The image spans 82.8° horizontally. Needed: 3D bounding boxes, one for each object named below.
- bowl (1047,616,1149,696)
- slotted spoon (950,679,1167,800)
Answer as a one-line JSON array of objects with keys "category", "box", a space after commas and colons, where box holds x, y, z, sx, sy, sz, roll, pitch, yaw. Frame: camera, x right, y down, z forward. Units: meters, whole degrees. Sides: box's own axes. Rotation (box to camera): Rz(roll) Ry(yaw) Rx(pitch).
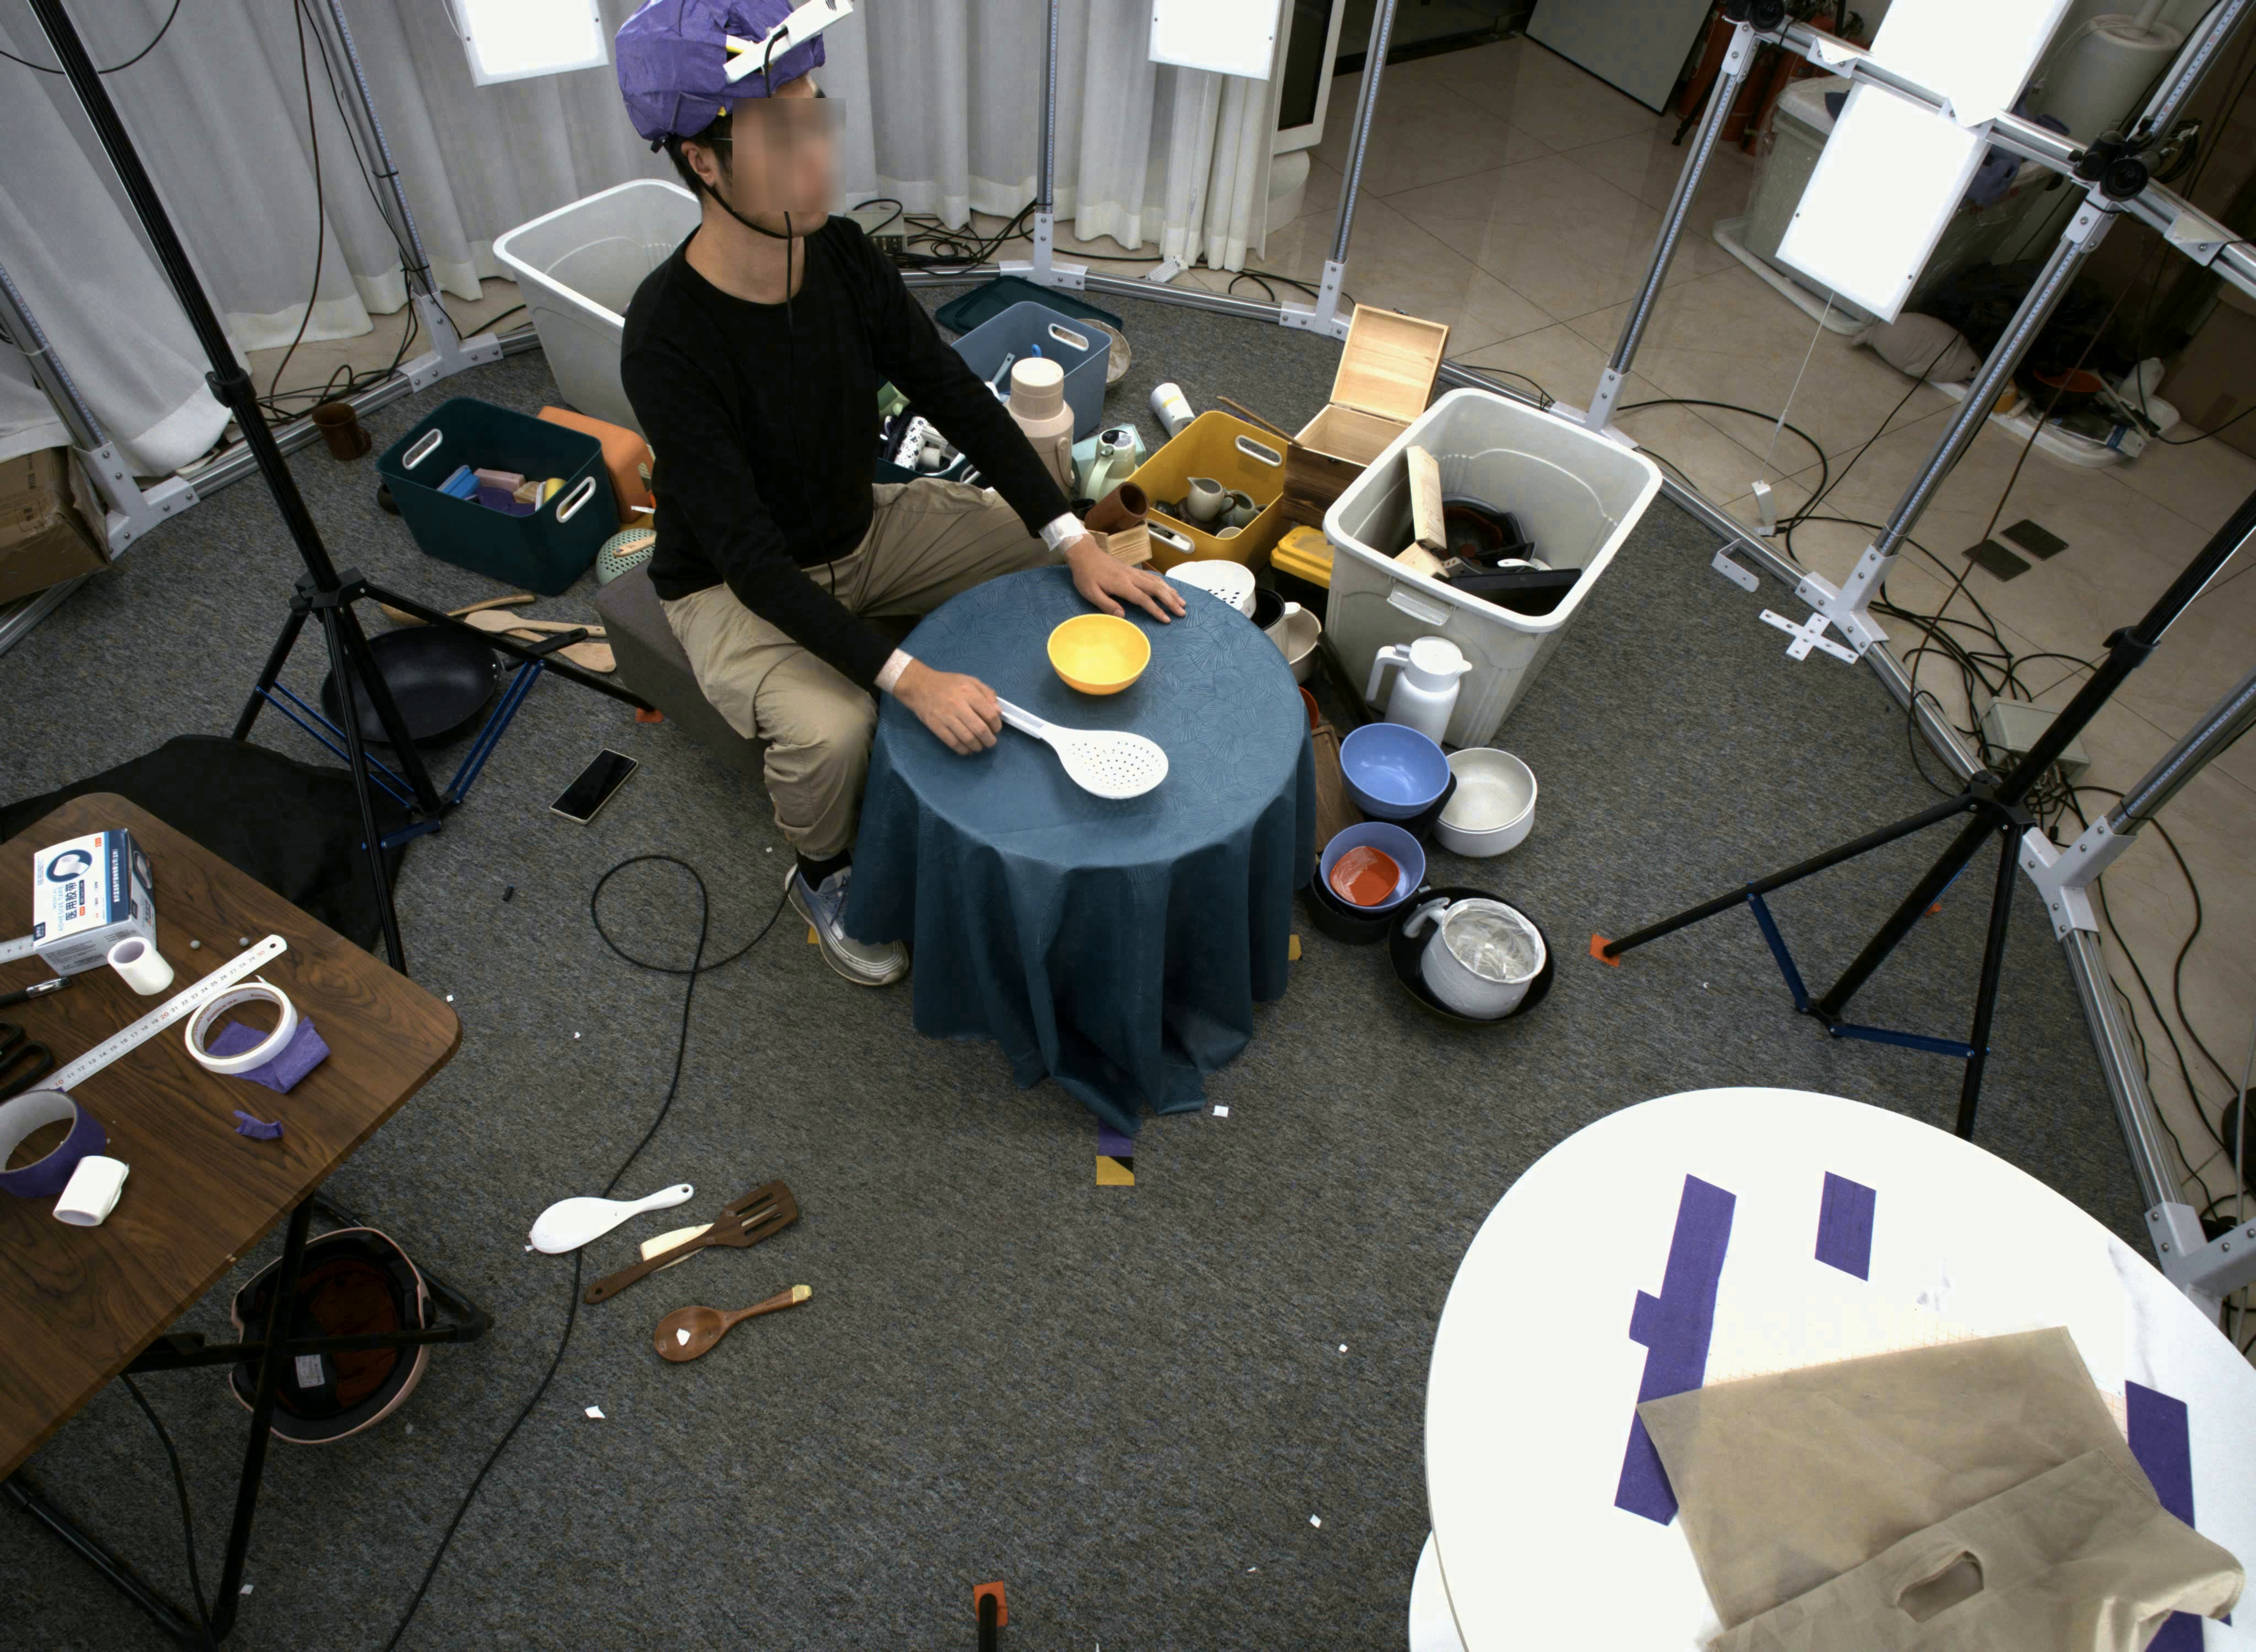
[{"category": "bowl", "box": [-0.044, -0.231, 1.832, 0.145, 0.058, 0.149, 3, 48, -4]}, {"category": "slotted spoon", "box": [-0.104, -0.123, 1.740, 0.354, 0.044, 0.137, 31, 48, 22]}]
